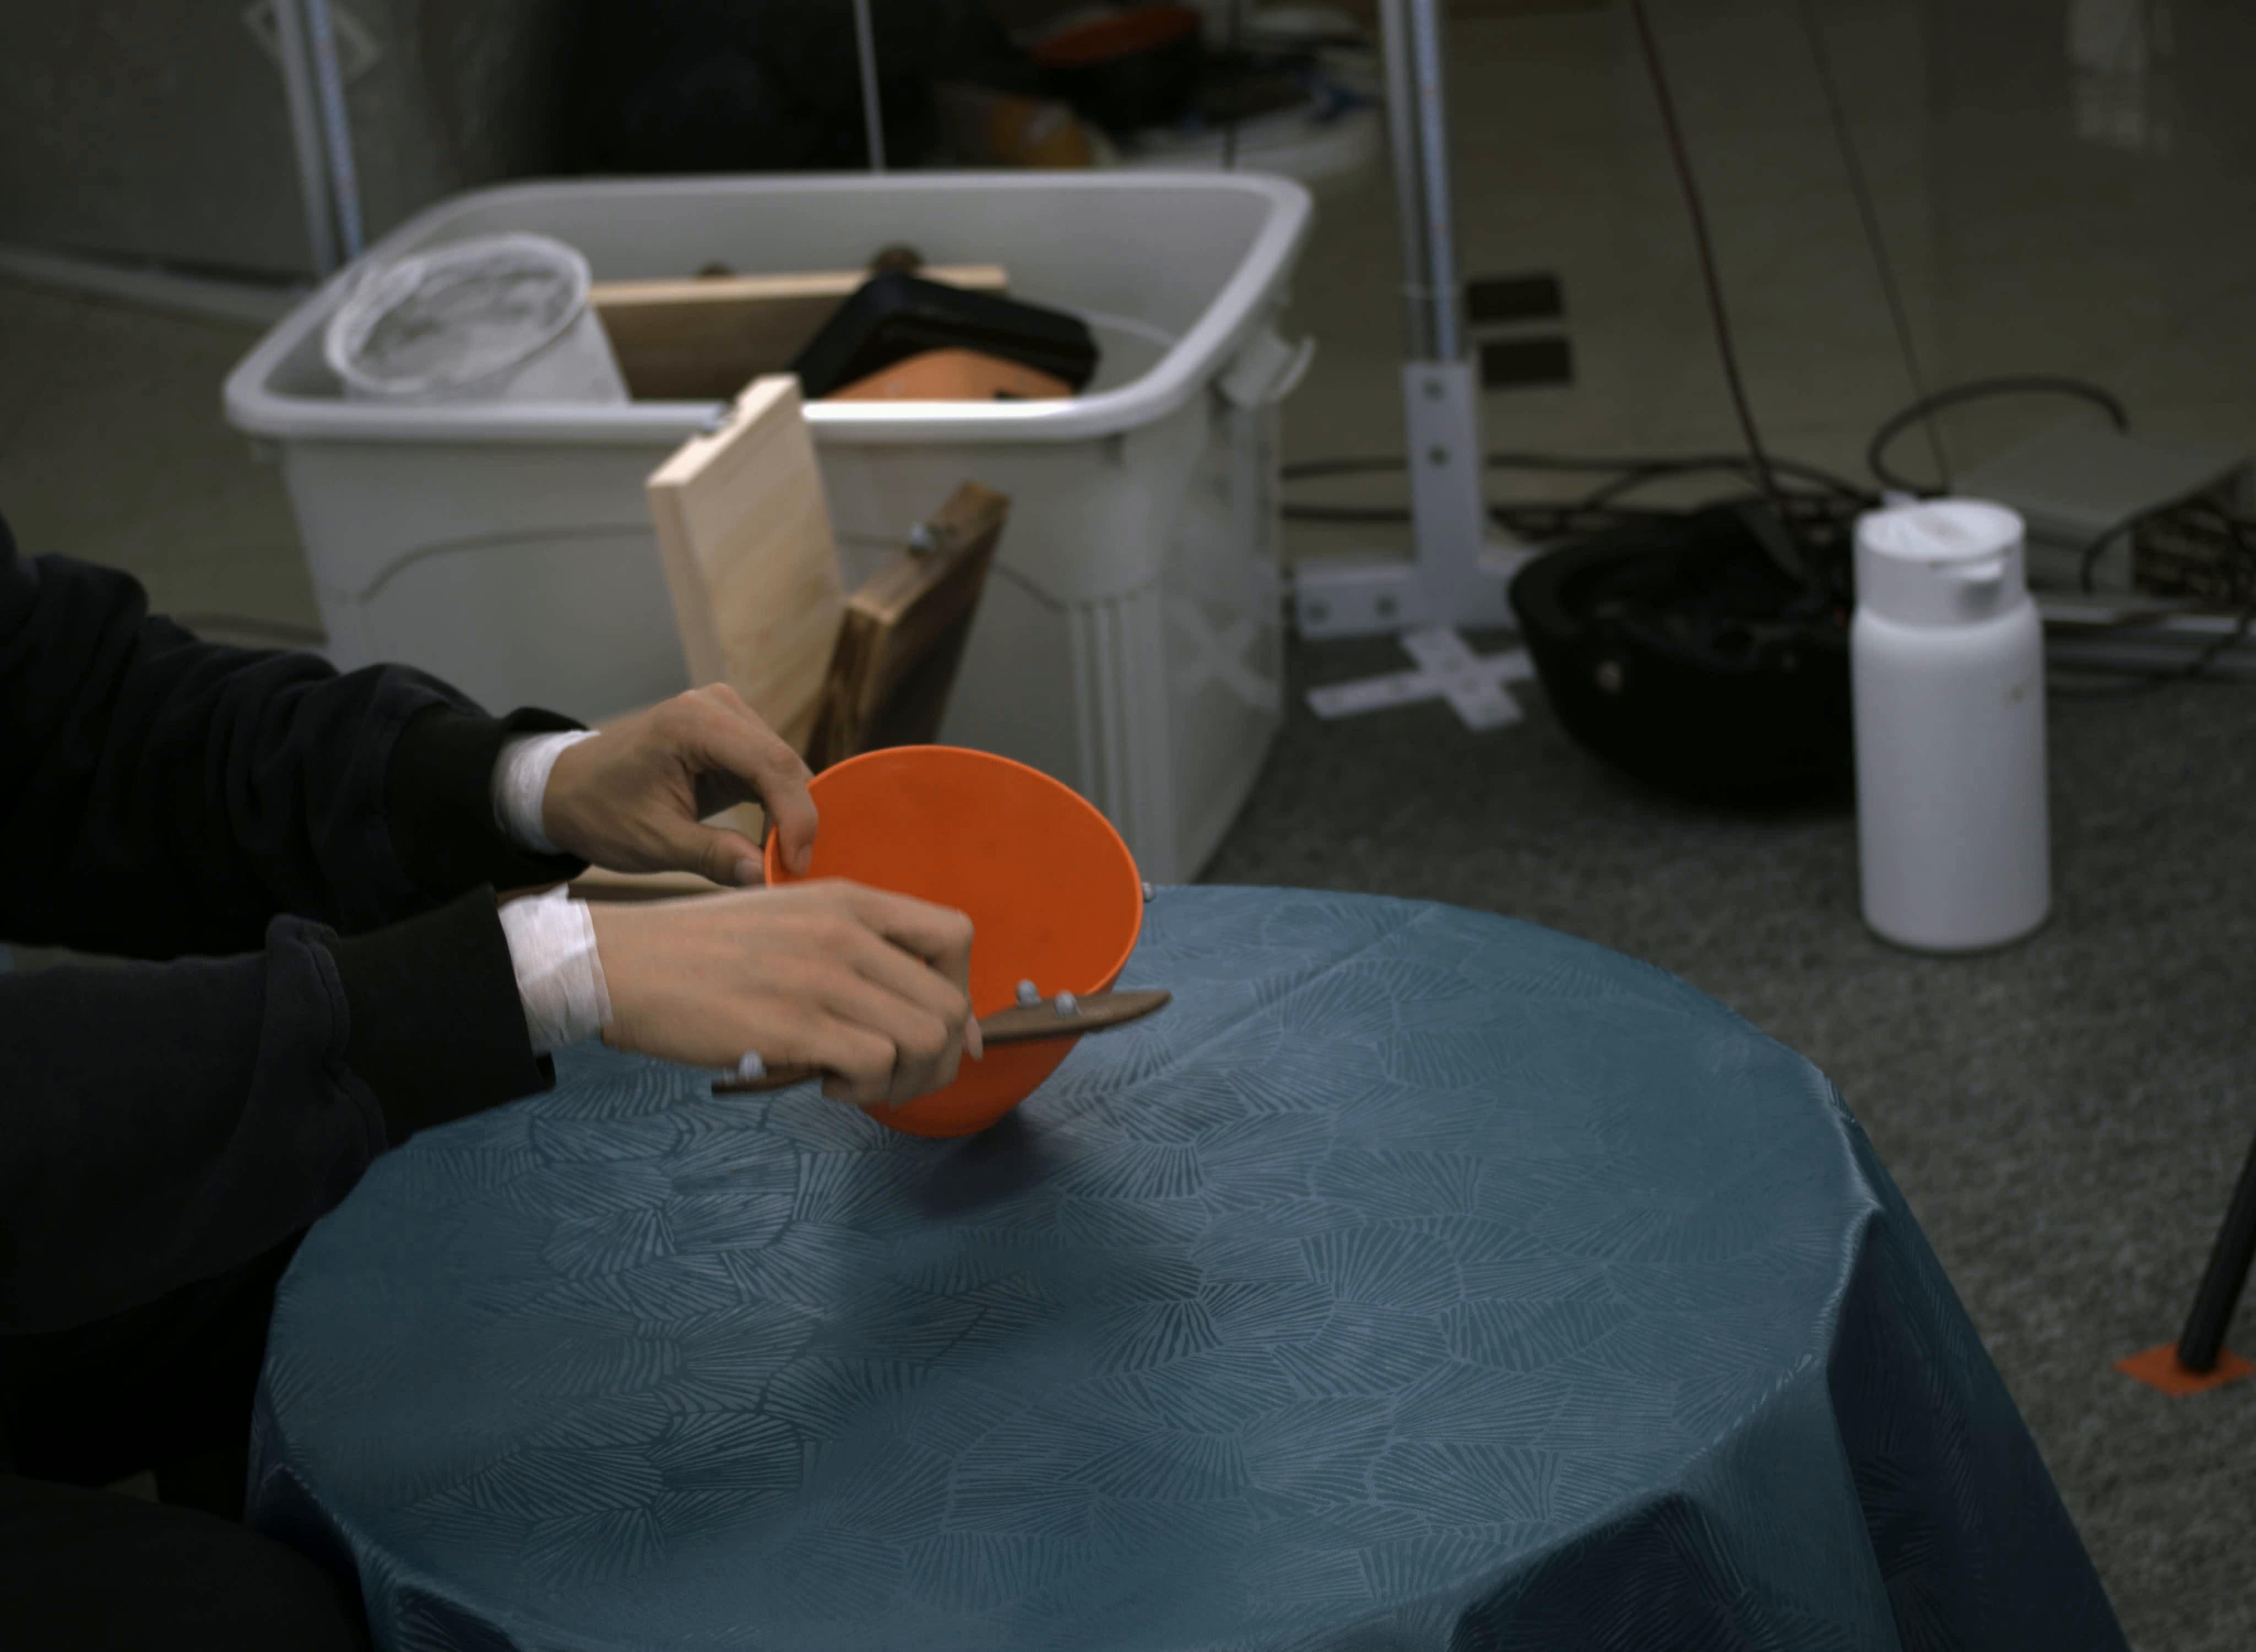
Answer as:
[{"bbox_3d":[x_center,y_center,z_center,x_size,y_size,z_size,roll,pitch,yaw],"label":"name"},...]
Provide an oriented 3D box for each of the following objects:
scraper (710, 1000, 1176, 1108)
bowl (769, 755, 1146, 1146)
[{"bbox_3d":[-0.070,0.082,2.016,0.076,0.011,0.210,-4,4,39],"label":"scraper"},{"bbox_3d":[-0.071,0.057,2.205,0.148,0.106,0.145,7,35,-5],"label":"bowl"}]
